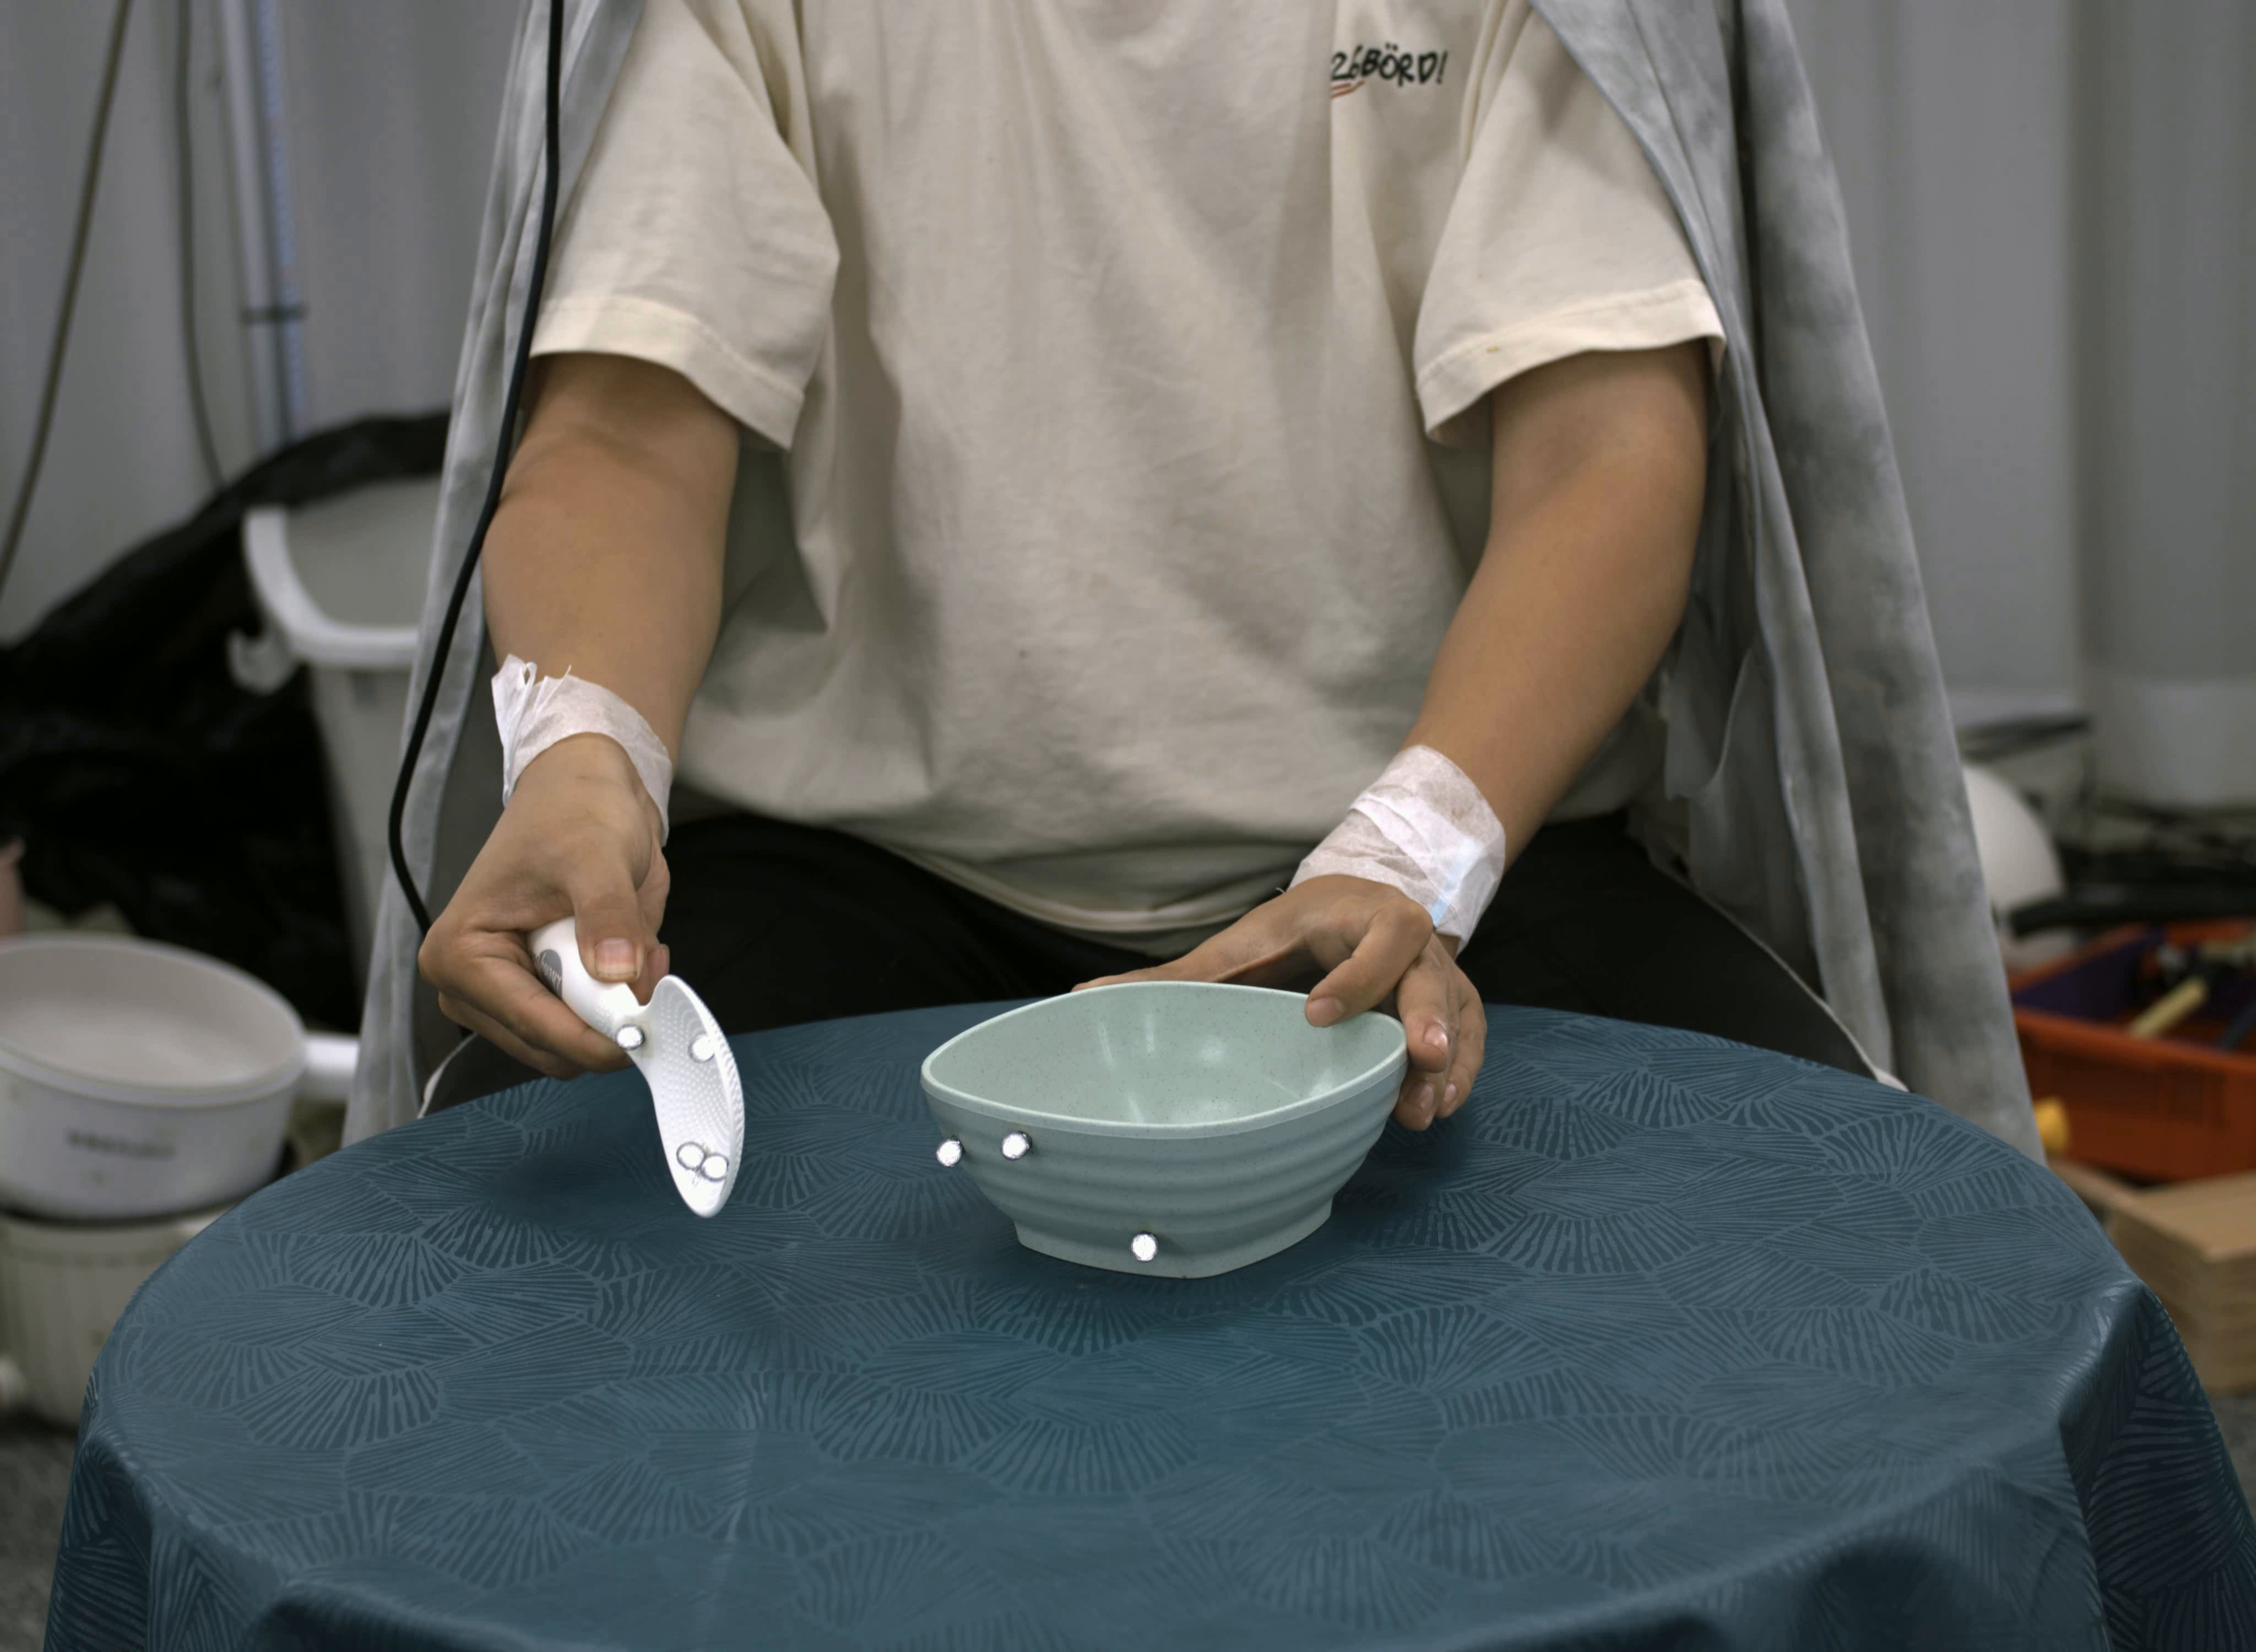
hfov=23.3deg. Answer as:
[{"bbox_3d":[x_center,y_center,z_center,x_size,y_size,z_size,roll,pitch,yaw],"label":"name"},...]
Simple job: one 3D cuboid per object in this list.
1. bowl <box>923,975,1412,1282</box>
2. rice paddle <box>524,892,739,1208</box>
[{"bbox_3d":[0.014,0.096,1.676,0.151,0.058,0.152,-5,17,1],"label":"bowl"},{"bbox_3d":[-0.150,0.062,1.672,0.029,0.068,0.207,-7,17,-16],"label":"rice paddle"}]
